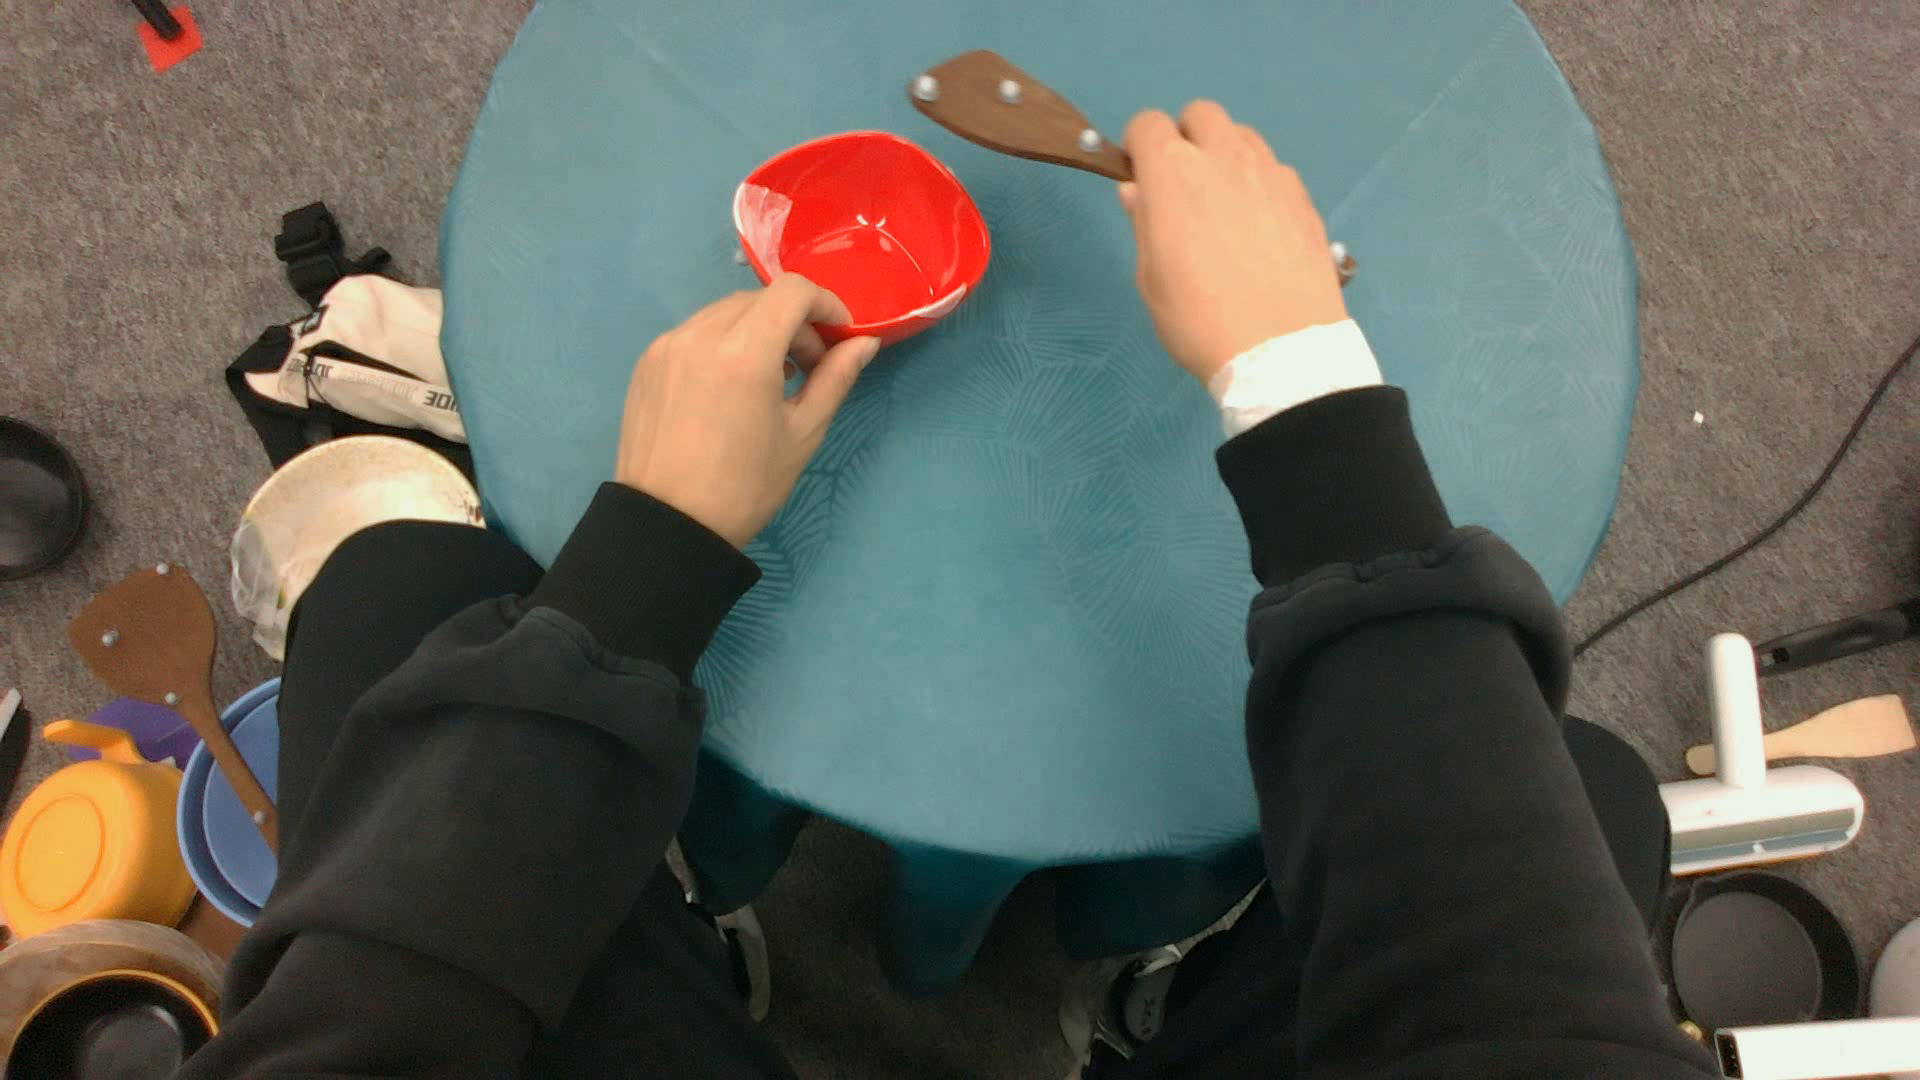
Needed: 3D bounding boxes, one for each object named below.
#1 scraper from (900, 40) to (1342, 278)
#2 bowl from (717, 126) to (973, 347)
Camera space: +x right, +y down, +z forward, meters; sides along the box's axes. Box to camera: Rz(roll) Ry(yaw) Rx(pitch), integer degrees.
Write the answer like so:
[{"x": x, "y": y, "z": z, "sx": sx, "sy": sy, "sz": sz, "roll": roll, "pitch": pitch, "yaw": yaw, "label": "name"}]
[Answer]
[{"x": 0.071, "y": -0.167, "z": 0.607, "sx": 0.211, "sy": 0.011, "sz": 0.076, "roll": 32, "pitch": 47, "yaw": 17, "label": "scraper"}, {"x": -0.056, "y": -0.135, "z": 0.652, "sx": 0.119, "sy": 0.051, "sz": 0.119, "roll": 5, "pitch": 59, "yaw": -8, "label": "bowl"}]
